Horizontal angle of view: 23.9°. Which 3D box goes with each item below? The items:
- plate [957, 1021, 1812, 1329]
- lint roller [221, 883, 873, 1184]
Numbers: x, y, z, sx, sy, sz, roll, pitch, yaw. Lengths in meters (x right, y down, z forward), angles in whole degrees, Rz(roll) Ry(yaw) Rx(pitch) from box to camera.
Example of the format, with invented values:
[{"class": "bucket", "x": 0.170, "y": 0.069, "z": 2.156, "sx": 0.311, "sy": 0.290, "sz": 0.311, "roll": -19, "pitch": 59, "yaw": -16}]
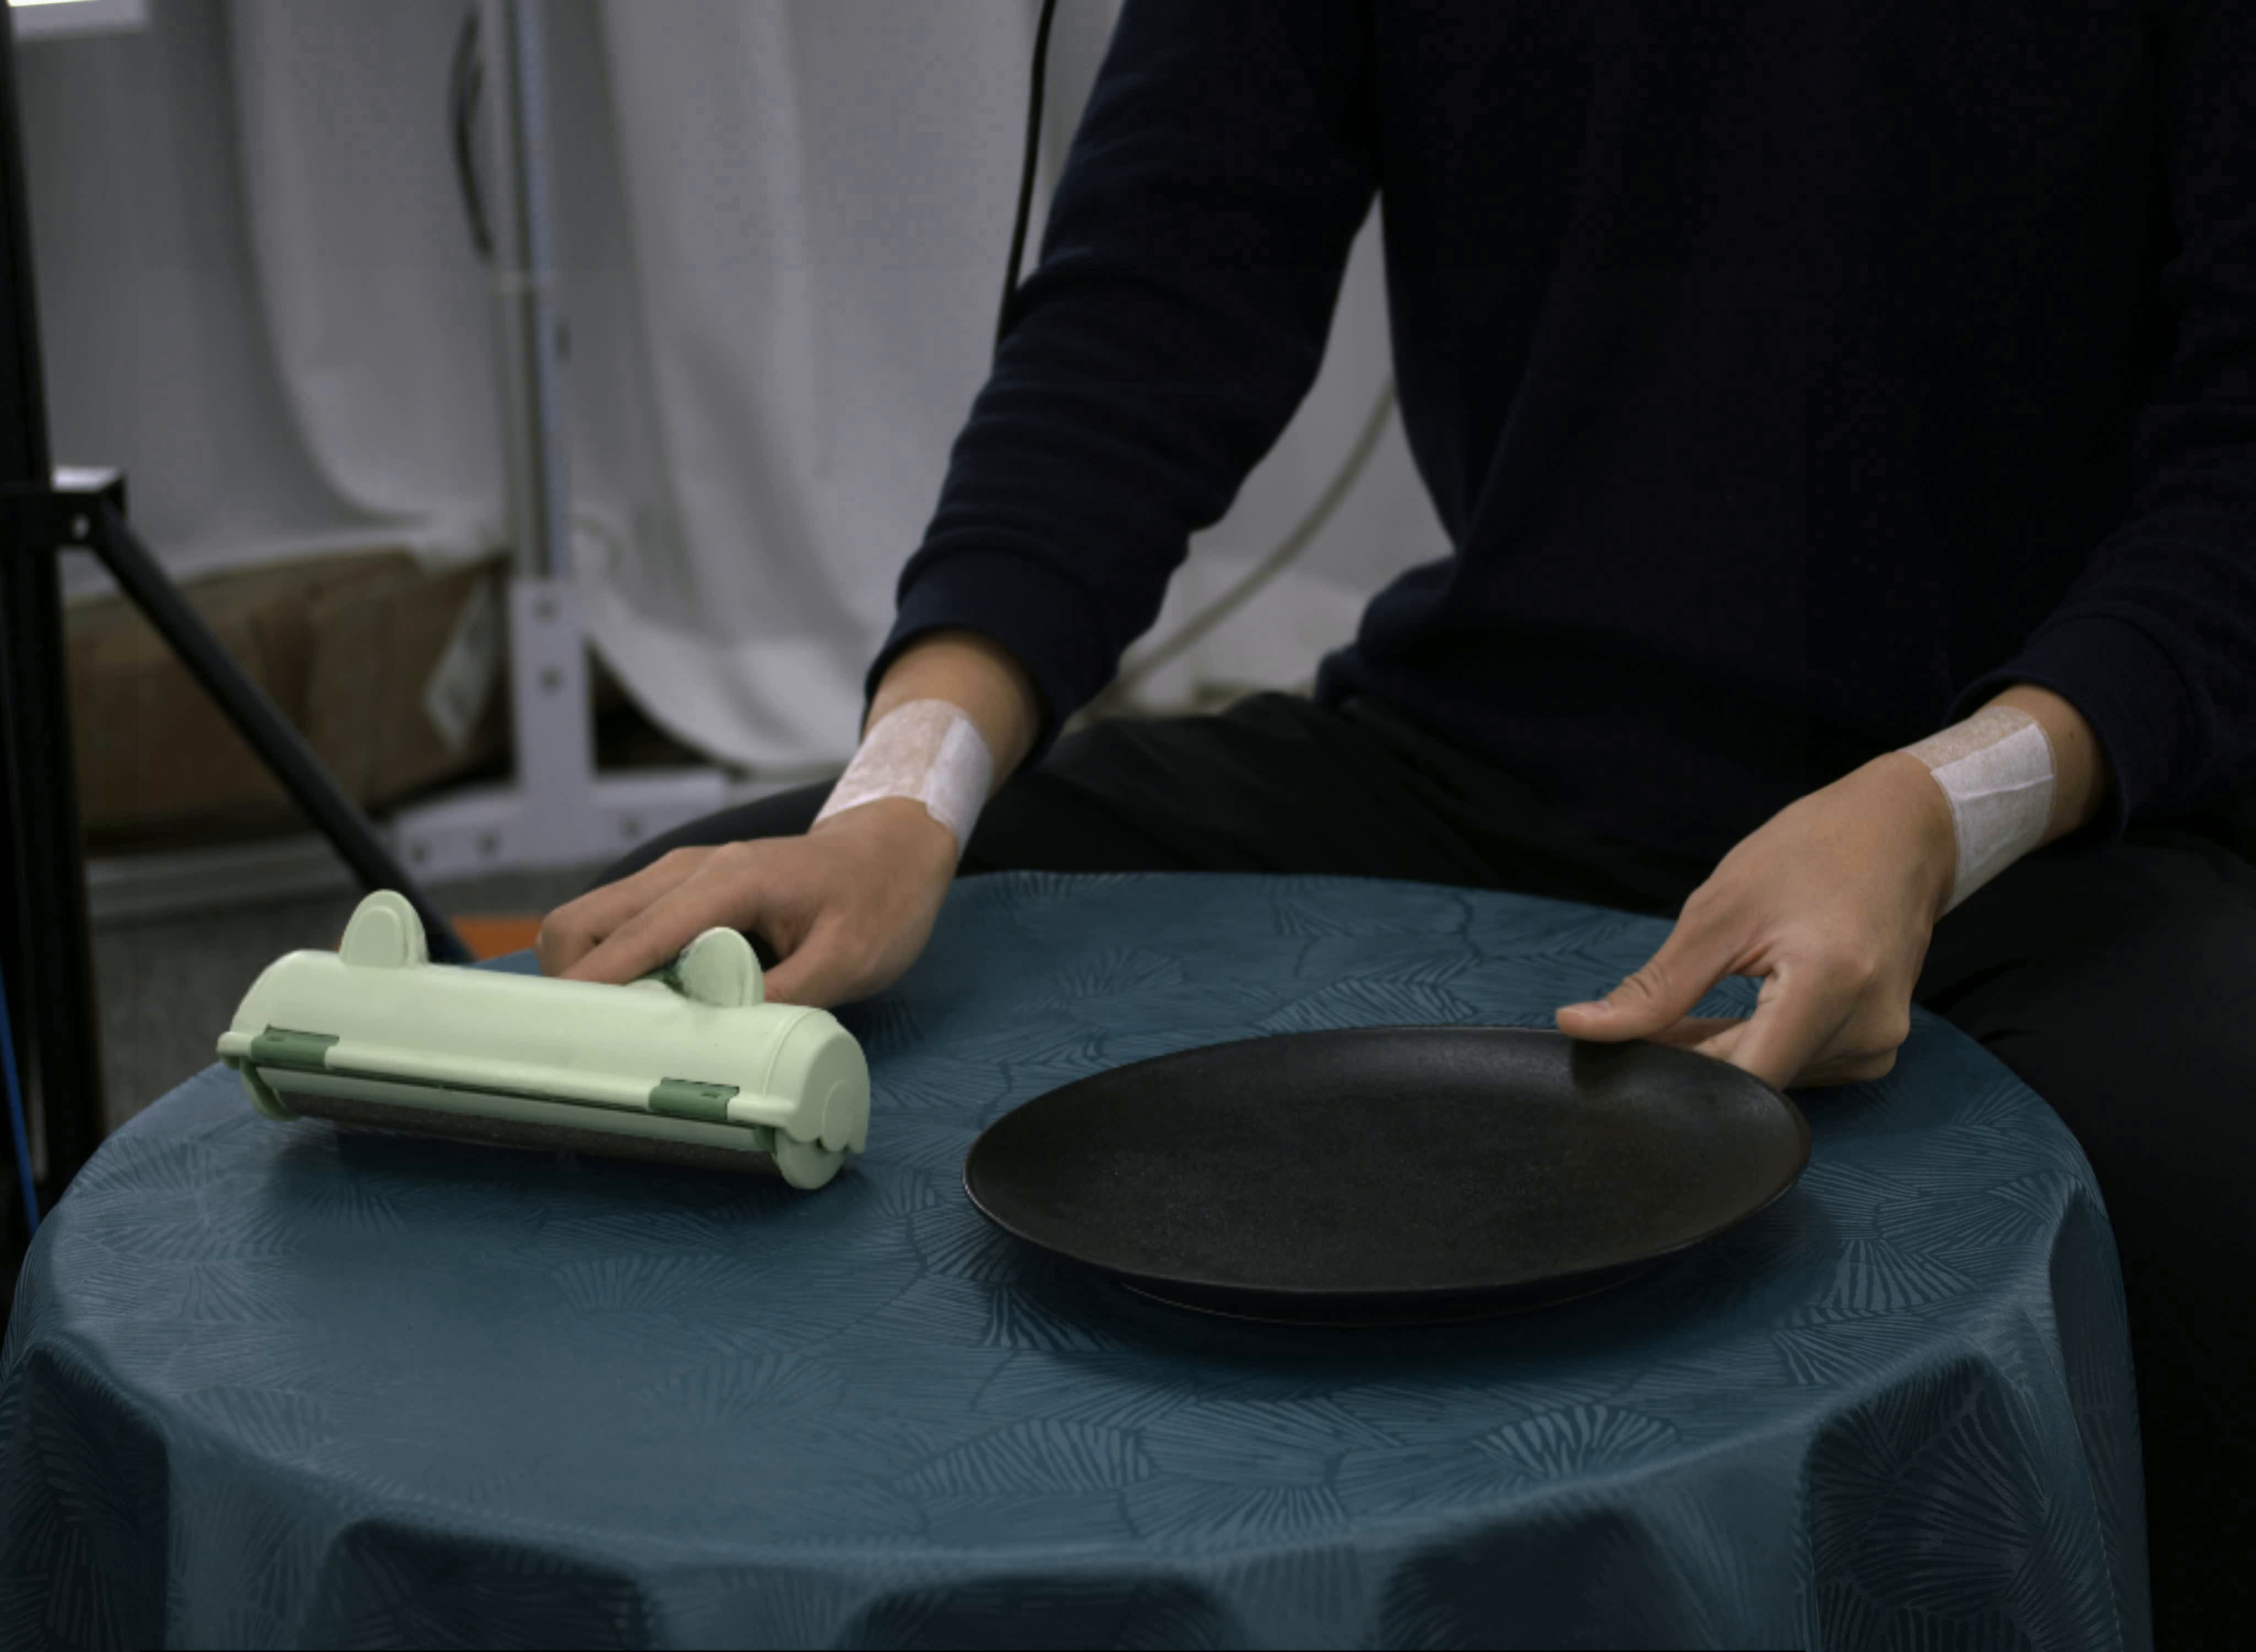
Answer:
[{"class": "plate", "x": 0.073, "y": 0.102, "z": 1.514, "sx": 0.243, "sy": 0.023, "sz": 0.245, "roll": -4, "pitch": 15, "yaw": 0}, {"class": "lint roller", "x": -0.153, "y": 0.045, "z": 1.650, "sx": 0.201, "sy": 0.082, "sz": 0.181, "roll": 6, "pitch": 24, "yaw": 24}]
